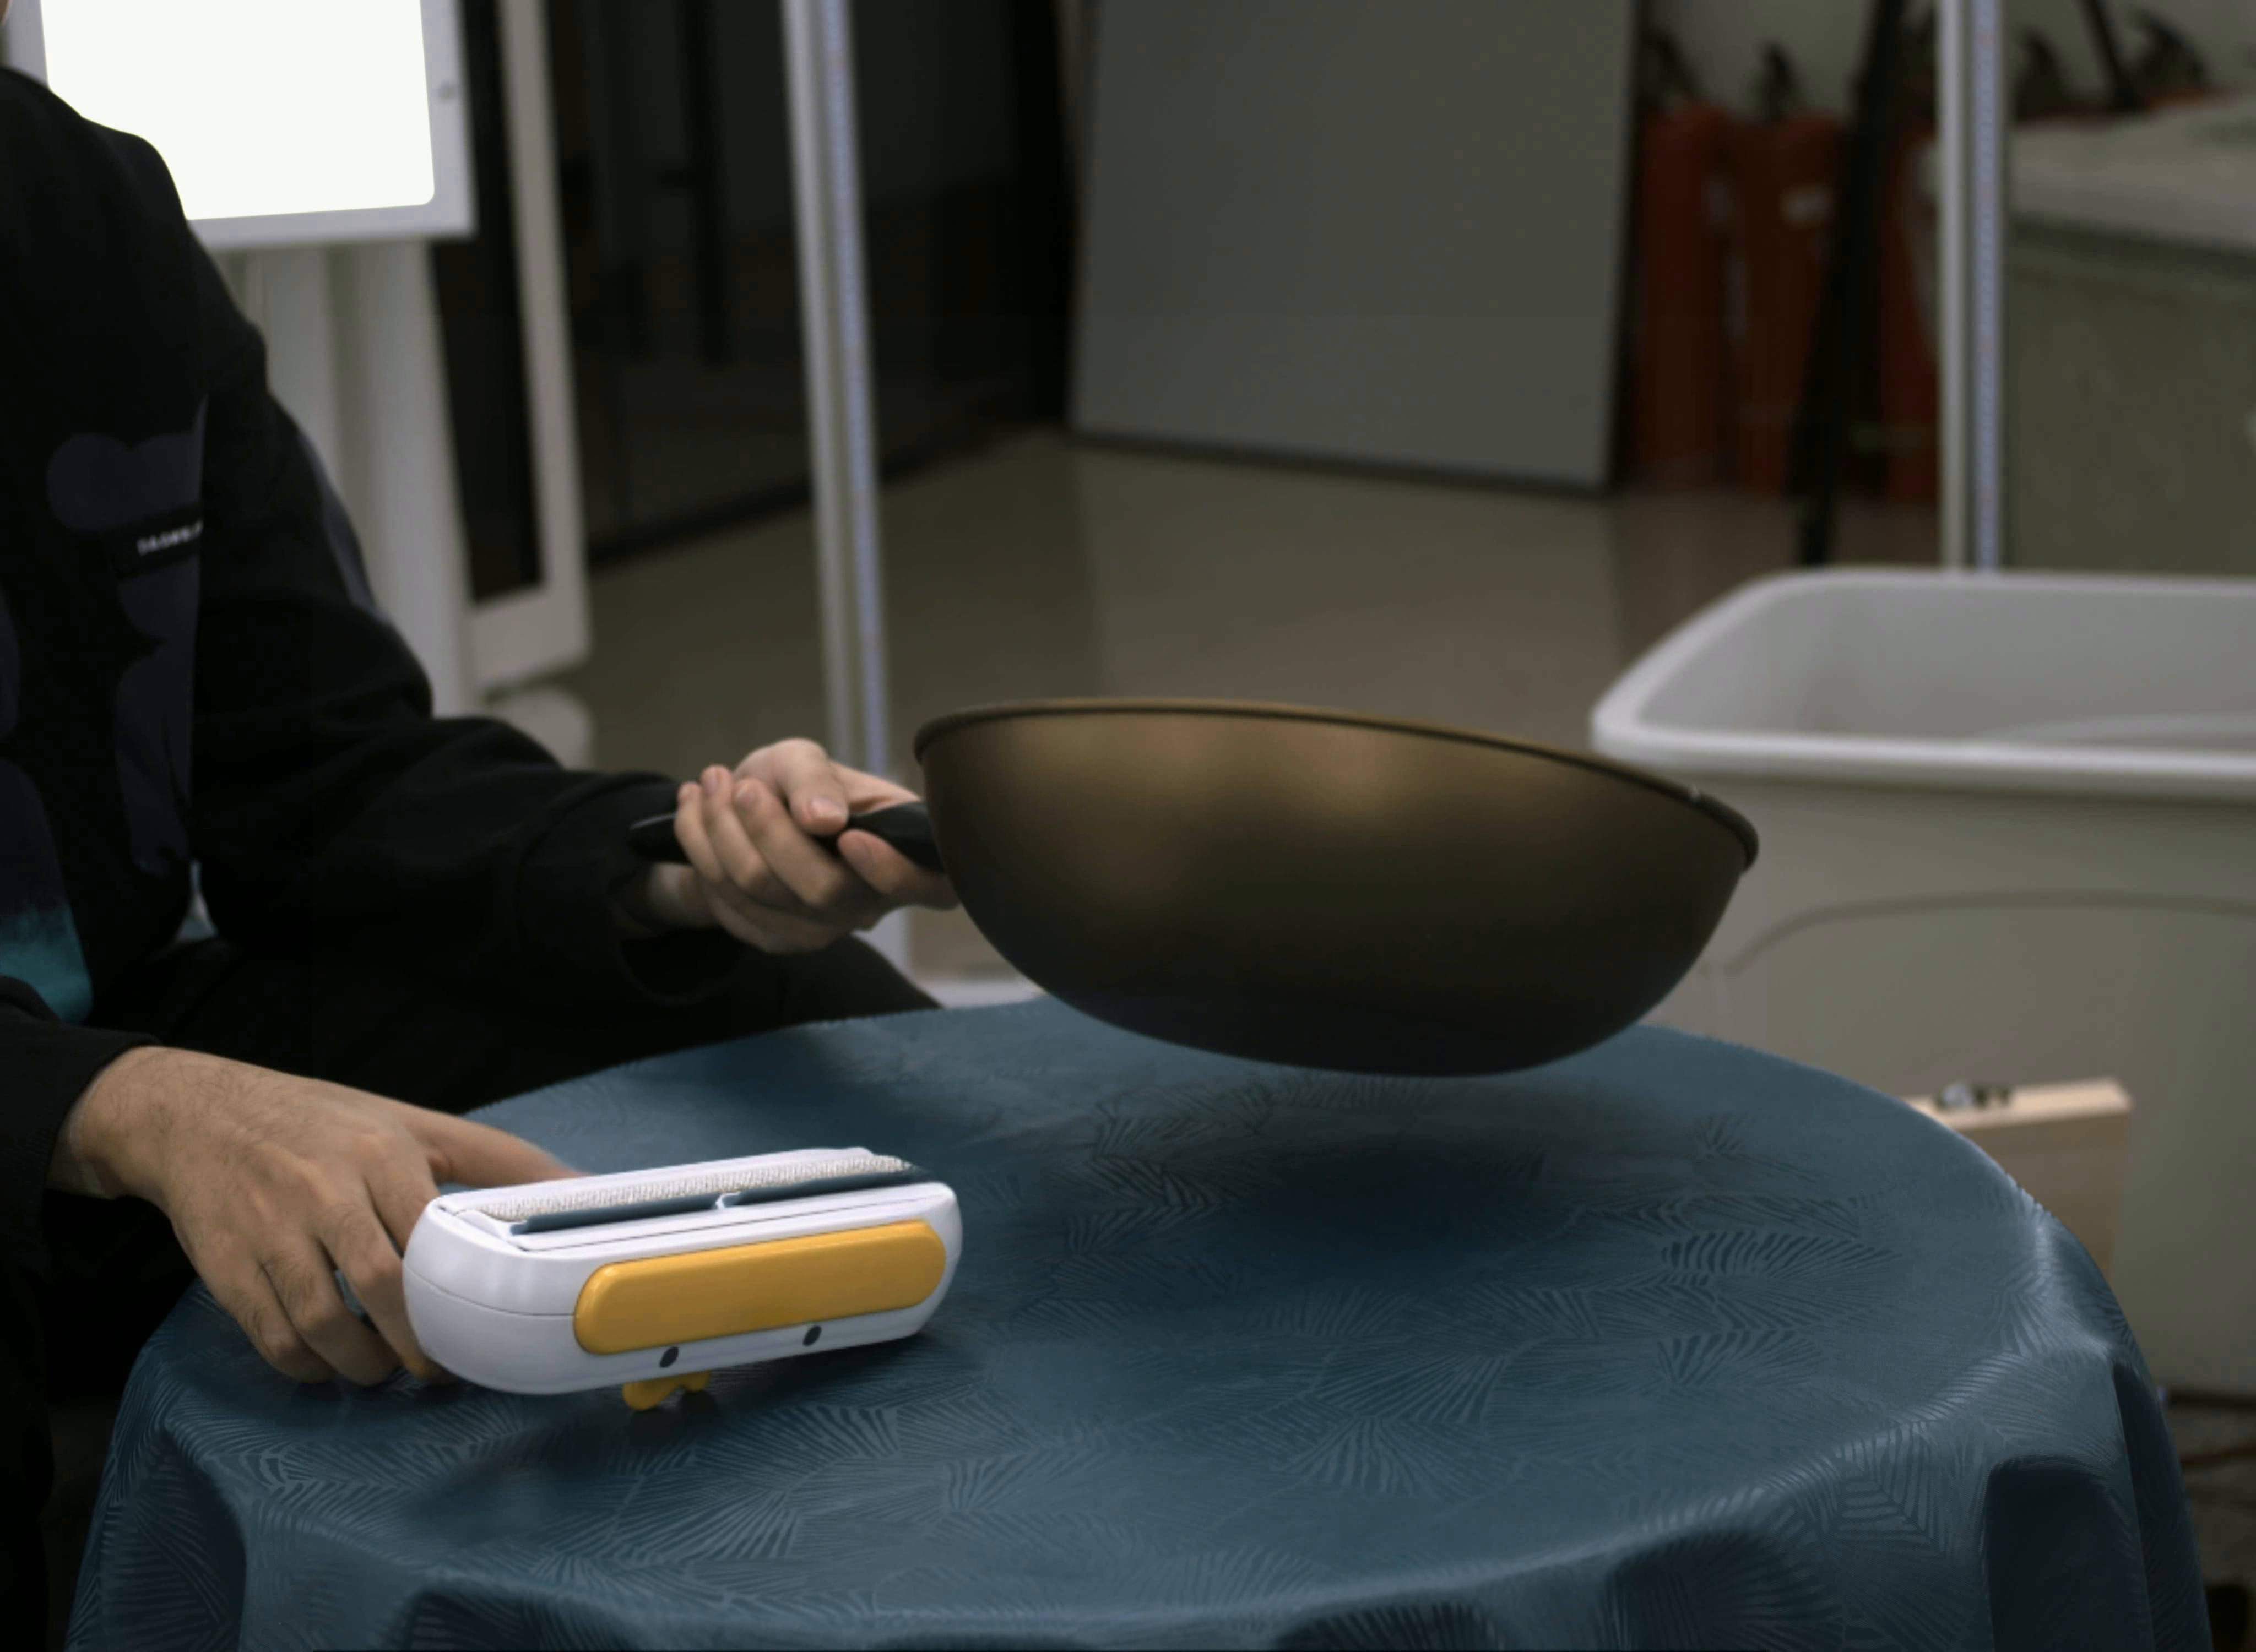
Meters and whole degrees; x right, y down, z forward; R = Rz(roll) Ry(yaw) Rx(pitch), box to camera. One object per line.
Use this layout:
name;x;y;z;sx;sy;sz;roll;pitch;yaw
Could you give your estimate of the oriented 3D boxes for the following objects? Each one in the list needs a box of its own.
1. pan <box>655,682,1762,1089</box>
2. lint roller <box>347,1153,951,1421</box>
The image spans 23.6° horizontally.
pan;-0.005;0.032;1.804;0.467;0.088;0.282;-3;-16;43
lint roller;-0.173;0.131;1.638;0.188;0.075;0.194;-9;12;-41
